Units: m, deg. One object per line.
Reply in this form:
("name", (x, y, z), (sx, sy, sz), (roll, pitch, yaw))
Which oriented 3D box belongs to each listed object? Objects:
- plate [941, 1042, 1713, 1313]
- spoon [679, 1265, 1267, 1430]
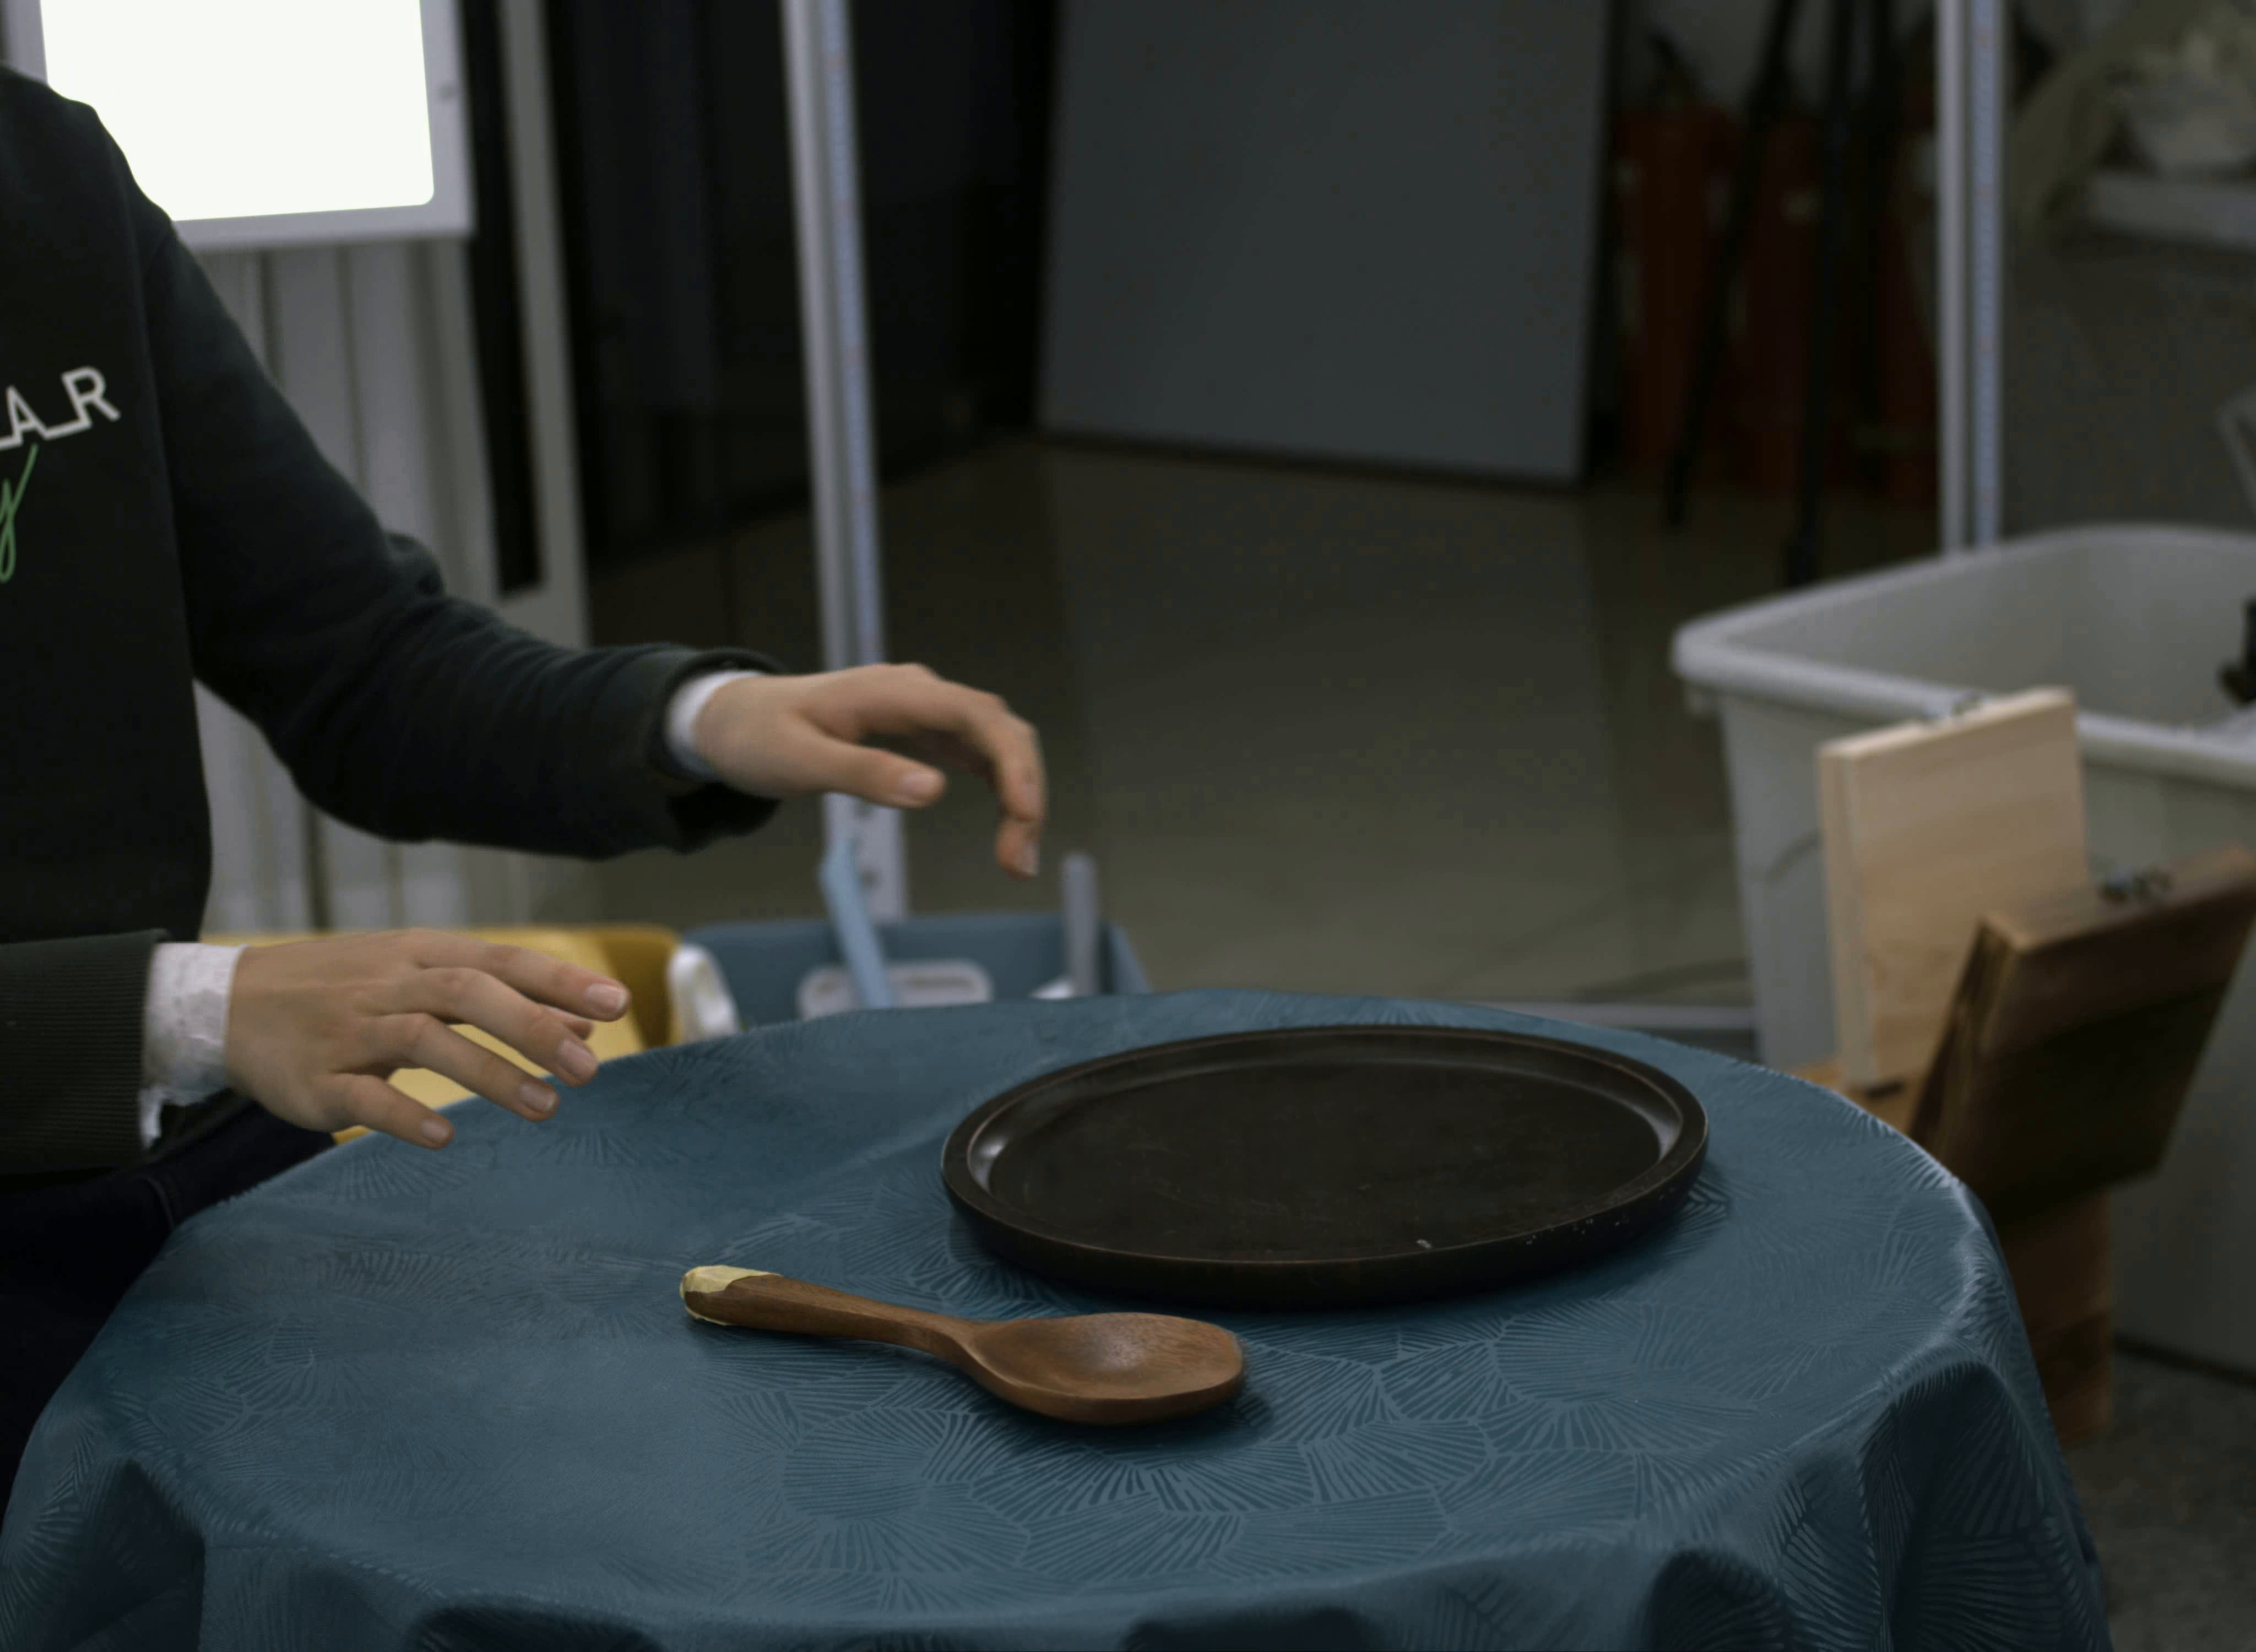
("plate", (0.064, 0.111, 1.749), (0.251, 0.029, 0.255), (-3, 14, 0))
("spoon", (-0.051, 0.155, 1.615), (0.217, 0.017, 0.074), (7, 18, 38))
